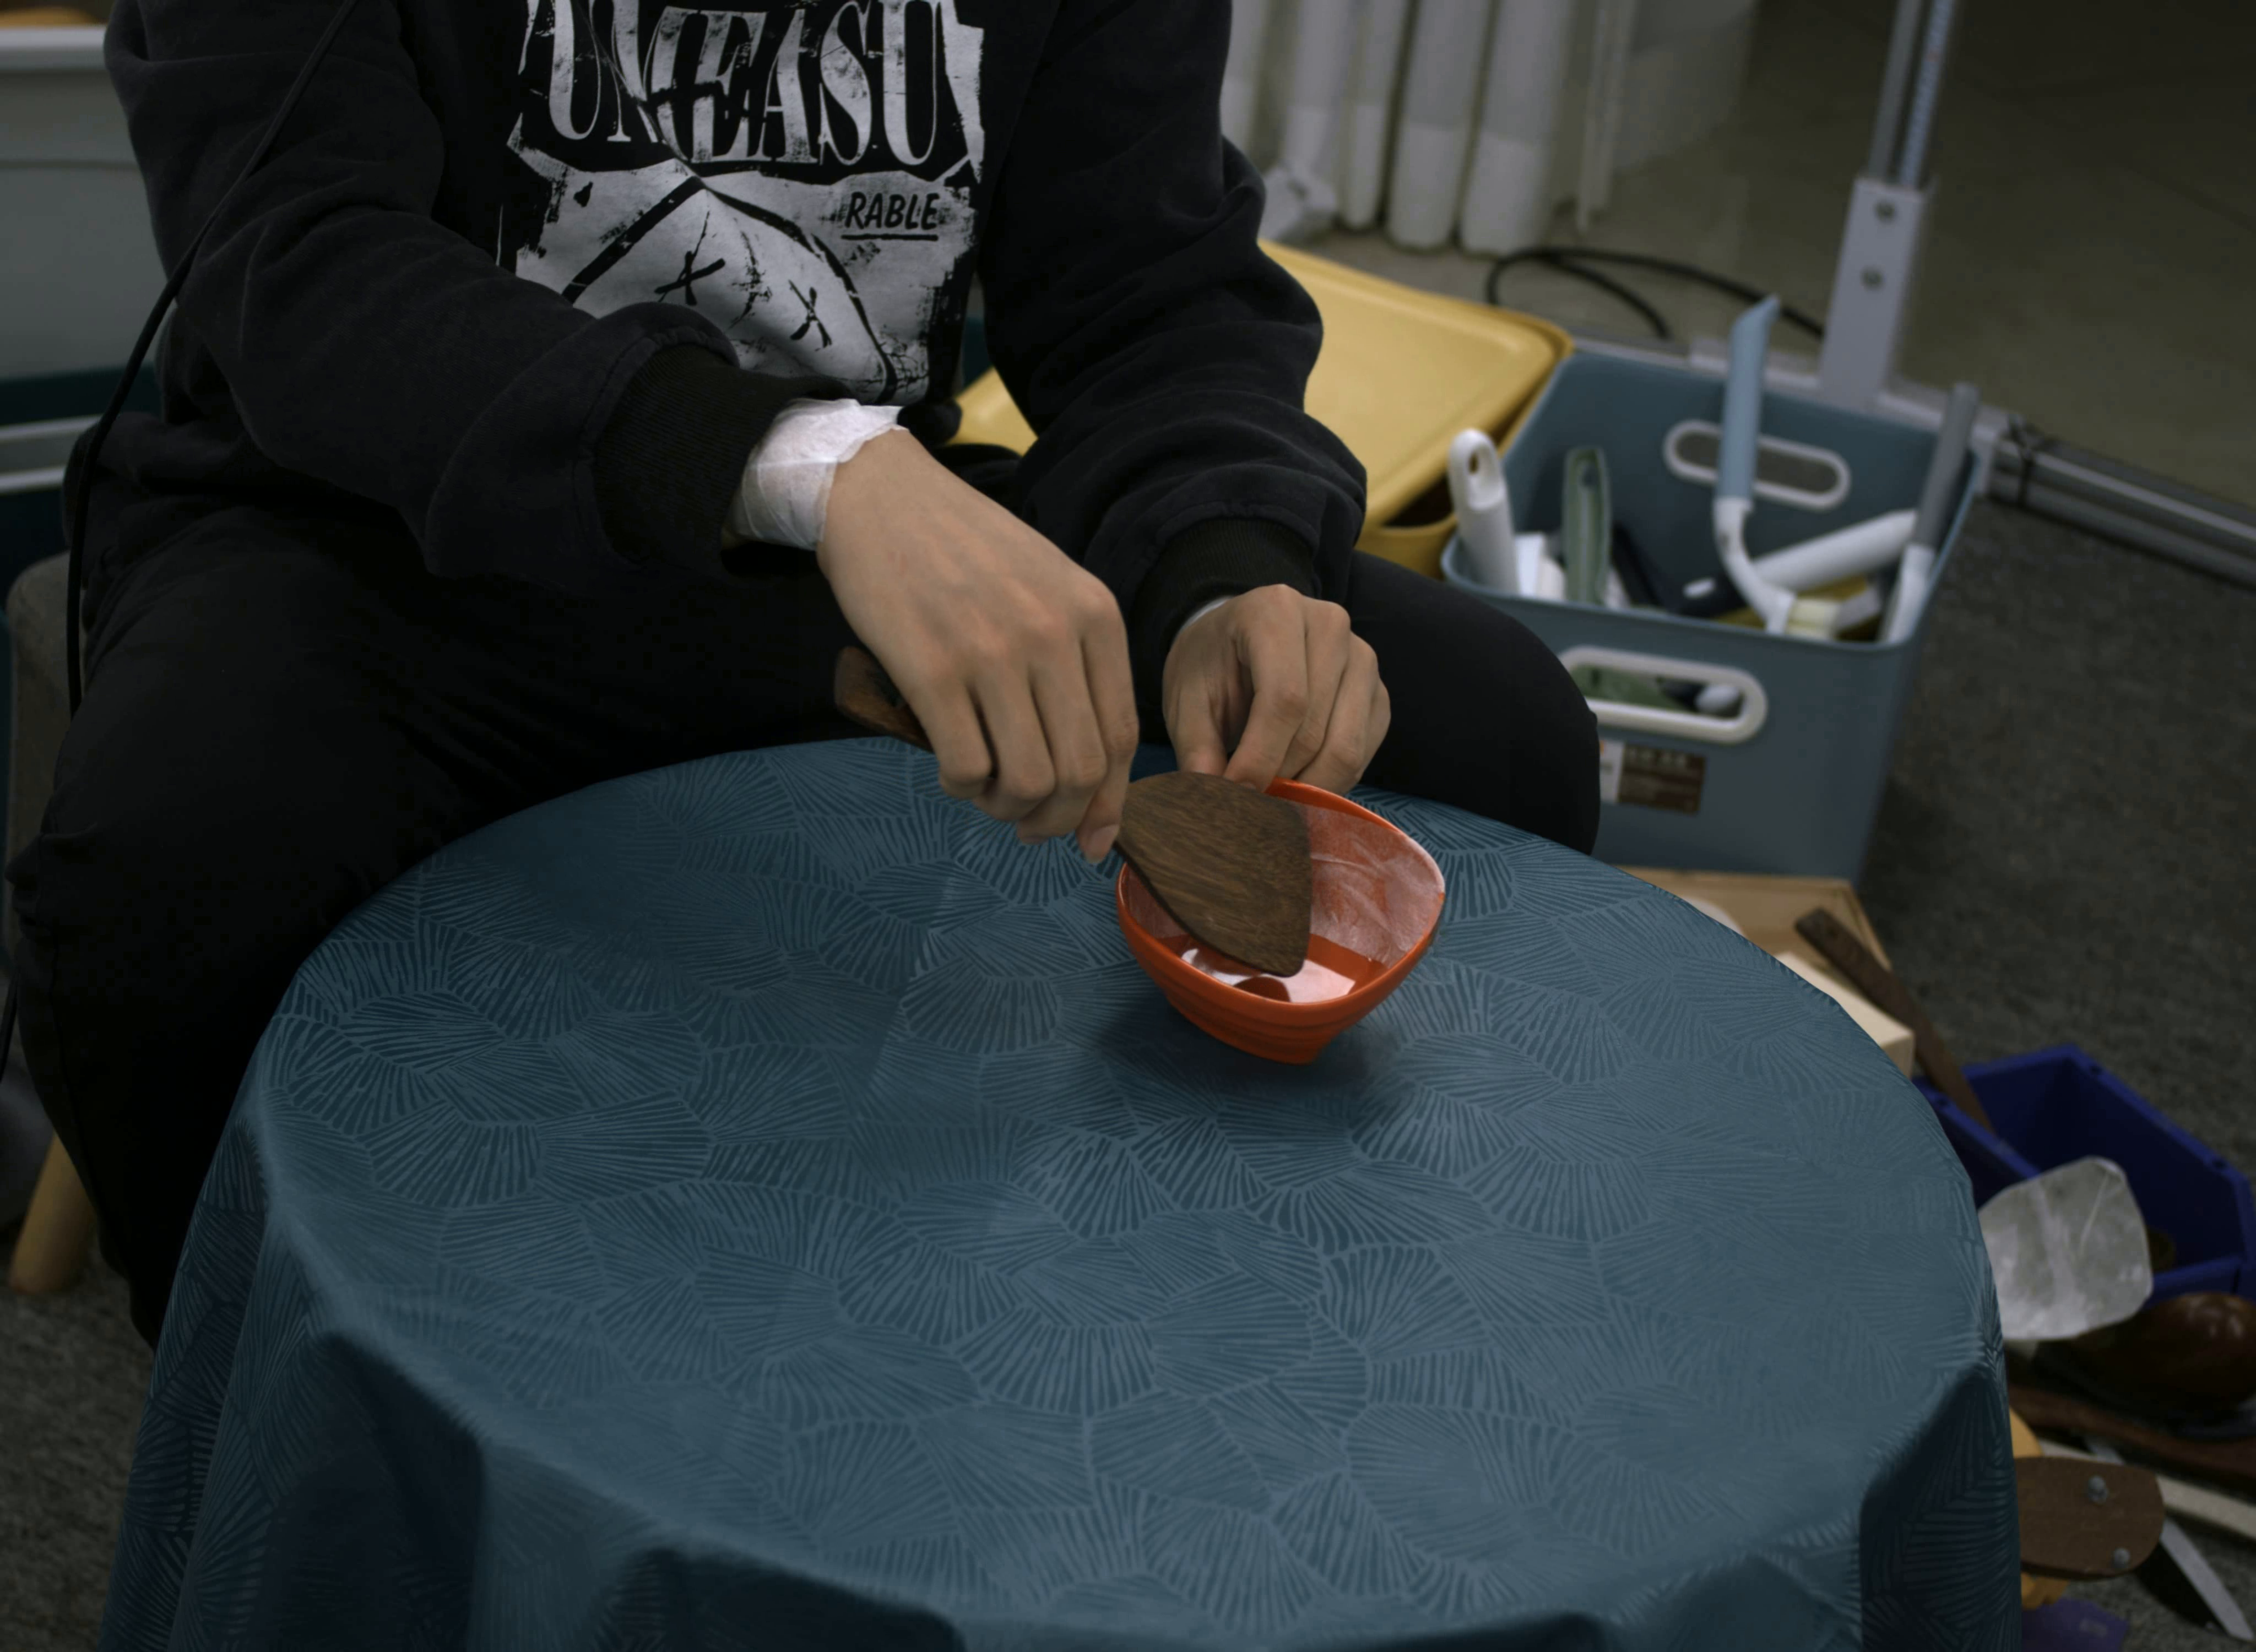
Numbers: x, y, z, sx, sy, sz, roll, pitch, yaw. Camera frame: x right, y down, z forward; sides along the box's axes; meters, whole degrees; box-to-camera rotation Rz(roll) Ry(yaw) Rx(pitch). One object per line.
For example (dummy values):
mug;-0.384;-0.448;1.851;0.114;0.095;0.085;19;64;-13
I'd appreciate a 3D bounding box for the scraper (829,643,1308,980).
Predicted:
scraper;-0.019;-0.012;1.847;0.209;0.011;0.076;27;50;-30

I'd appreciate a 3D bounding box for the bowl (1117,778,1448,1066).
bowl;0.053;0.041;1.903;0.118;0.051;0.120;2;44;-2
